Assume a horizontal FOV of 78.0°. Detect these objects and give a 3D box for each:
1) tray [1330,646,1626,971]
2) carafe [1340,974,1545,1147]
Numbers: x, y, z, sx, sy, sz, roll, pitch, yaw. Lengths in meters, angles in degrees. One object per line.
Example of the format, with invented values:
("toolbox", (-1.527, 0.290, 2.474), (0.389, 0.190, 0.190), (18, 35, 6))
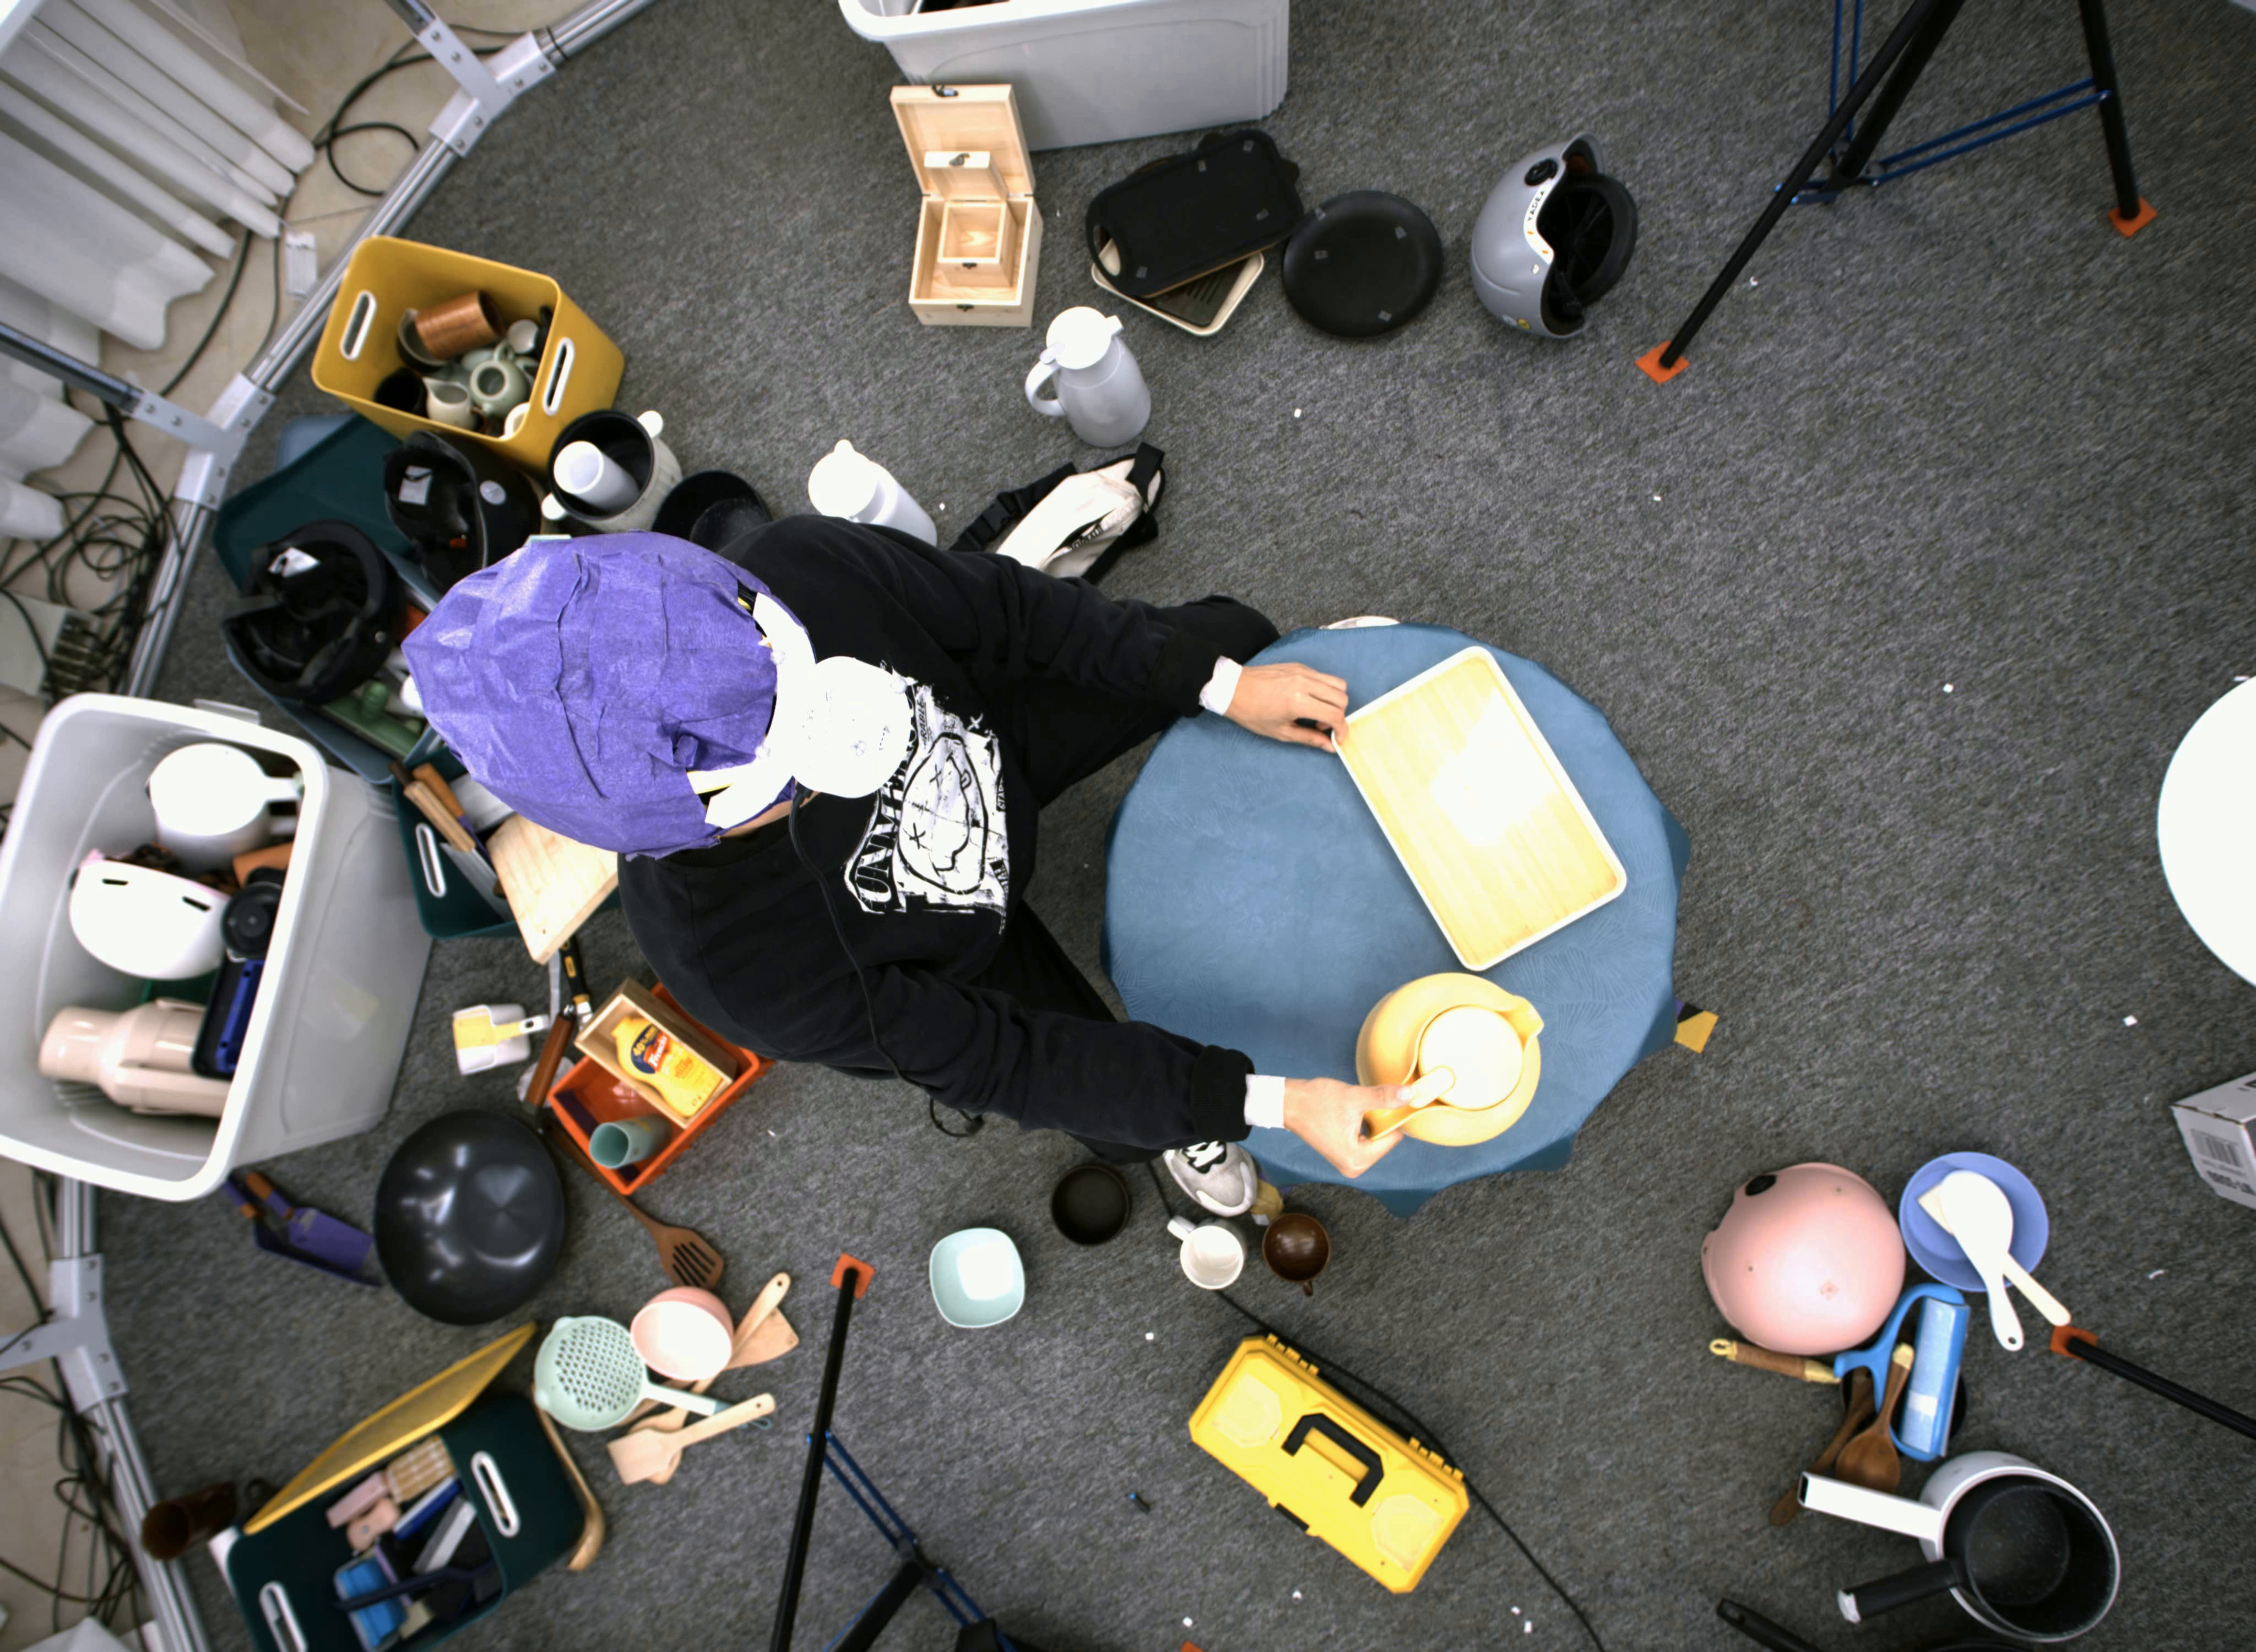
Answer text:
("tray", (0.362, -0.021, 1.435), (0.193, 0.027, 0.298), (-30, 82, 8))
("carafe", (0.289, 0.229, 1.310), (0.202, 0.263, 0.162), (-32, 77, -2))
